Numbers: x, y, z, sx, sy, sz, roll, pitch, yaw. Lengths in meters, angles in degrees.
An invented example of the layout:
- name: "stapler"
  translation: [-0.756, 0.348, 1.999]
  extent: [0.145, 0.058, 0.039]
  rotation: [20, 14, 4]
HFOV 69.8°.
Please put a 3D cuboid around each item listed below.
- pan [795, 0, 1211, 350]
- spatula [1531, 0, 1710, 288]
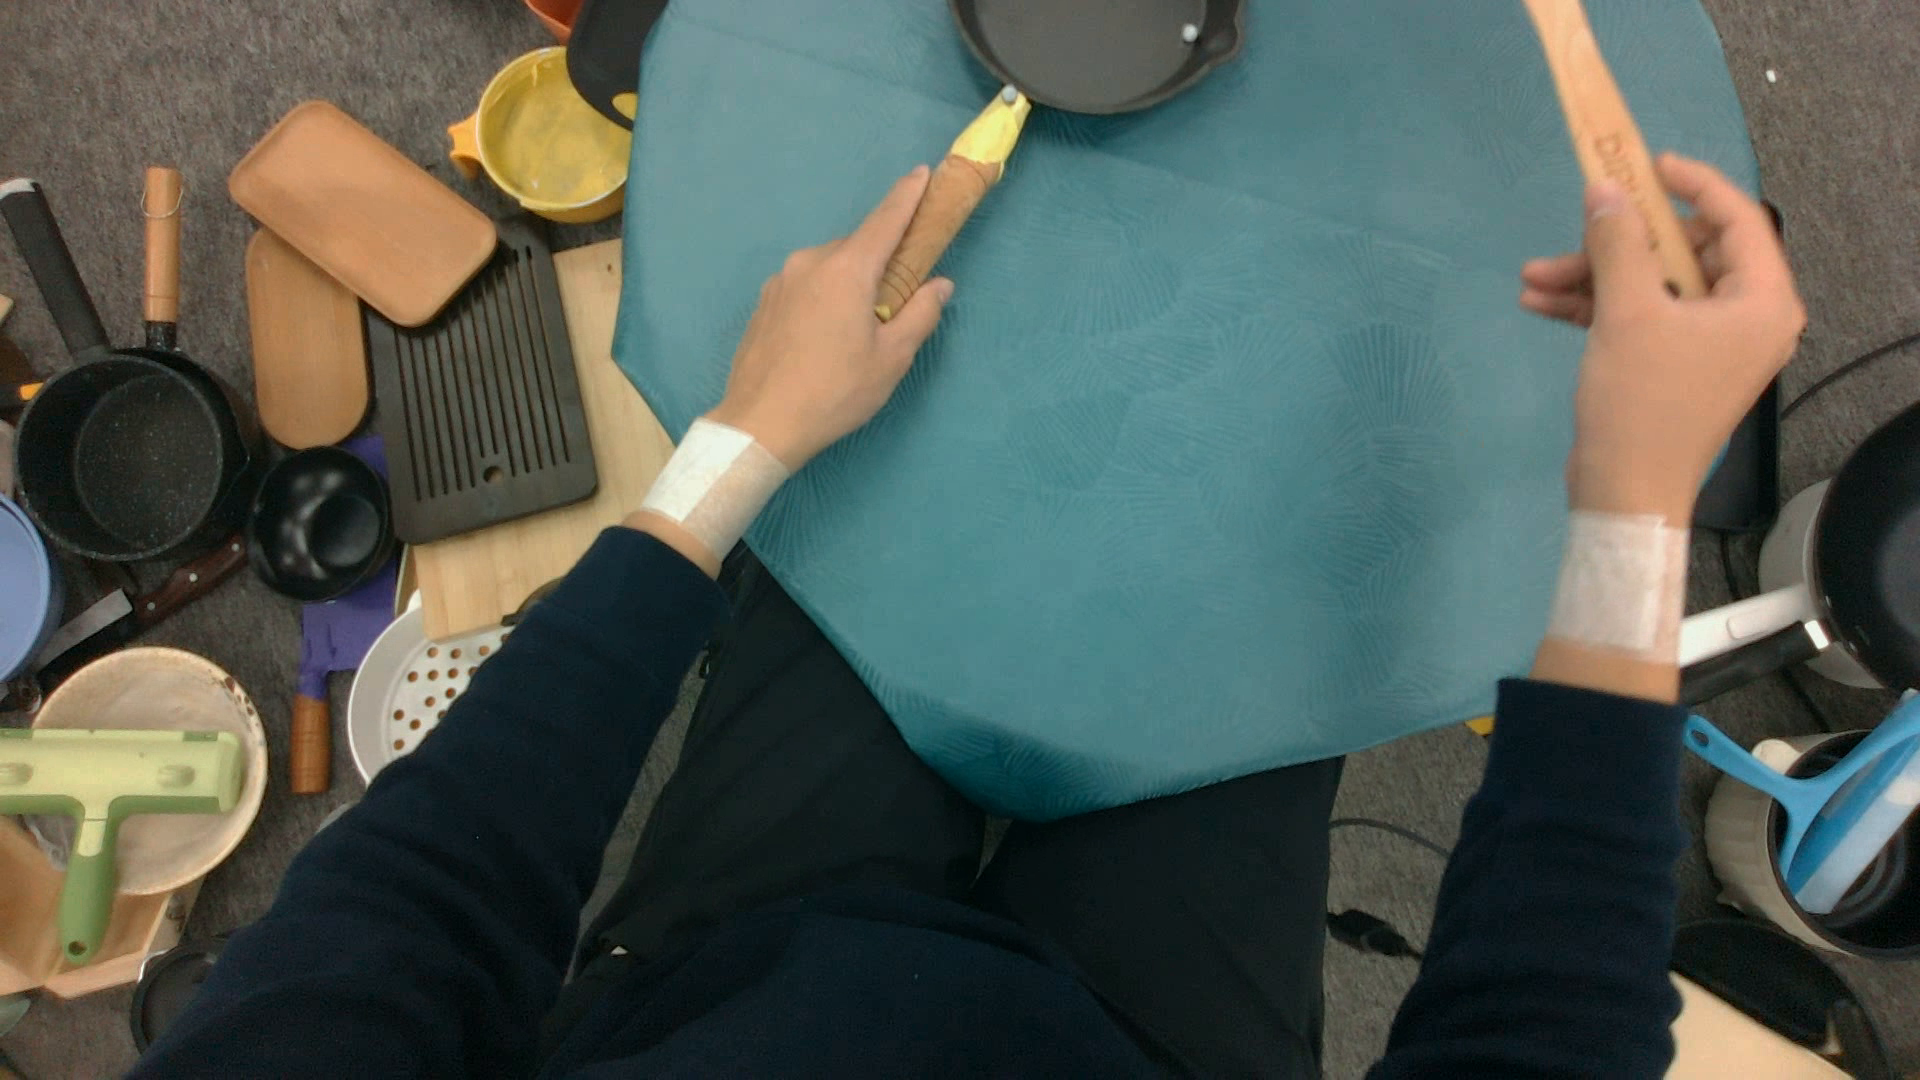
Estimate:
- name: "pan"
  translation: [0.009, -0.229, 0.700]
  extent: [0.169, 0.049, 0.325]
  rotation: [32, 80, 2]
- name: "spatula"
  translation: [0.234, -0.249, 0.566]
  extent: [0.080, 0.016, 0.328]
  rotation: [-18, 72, 14]
